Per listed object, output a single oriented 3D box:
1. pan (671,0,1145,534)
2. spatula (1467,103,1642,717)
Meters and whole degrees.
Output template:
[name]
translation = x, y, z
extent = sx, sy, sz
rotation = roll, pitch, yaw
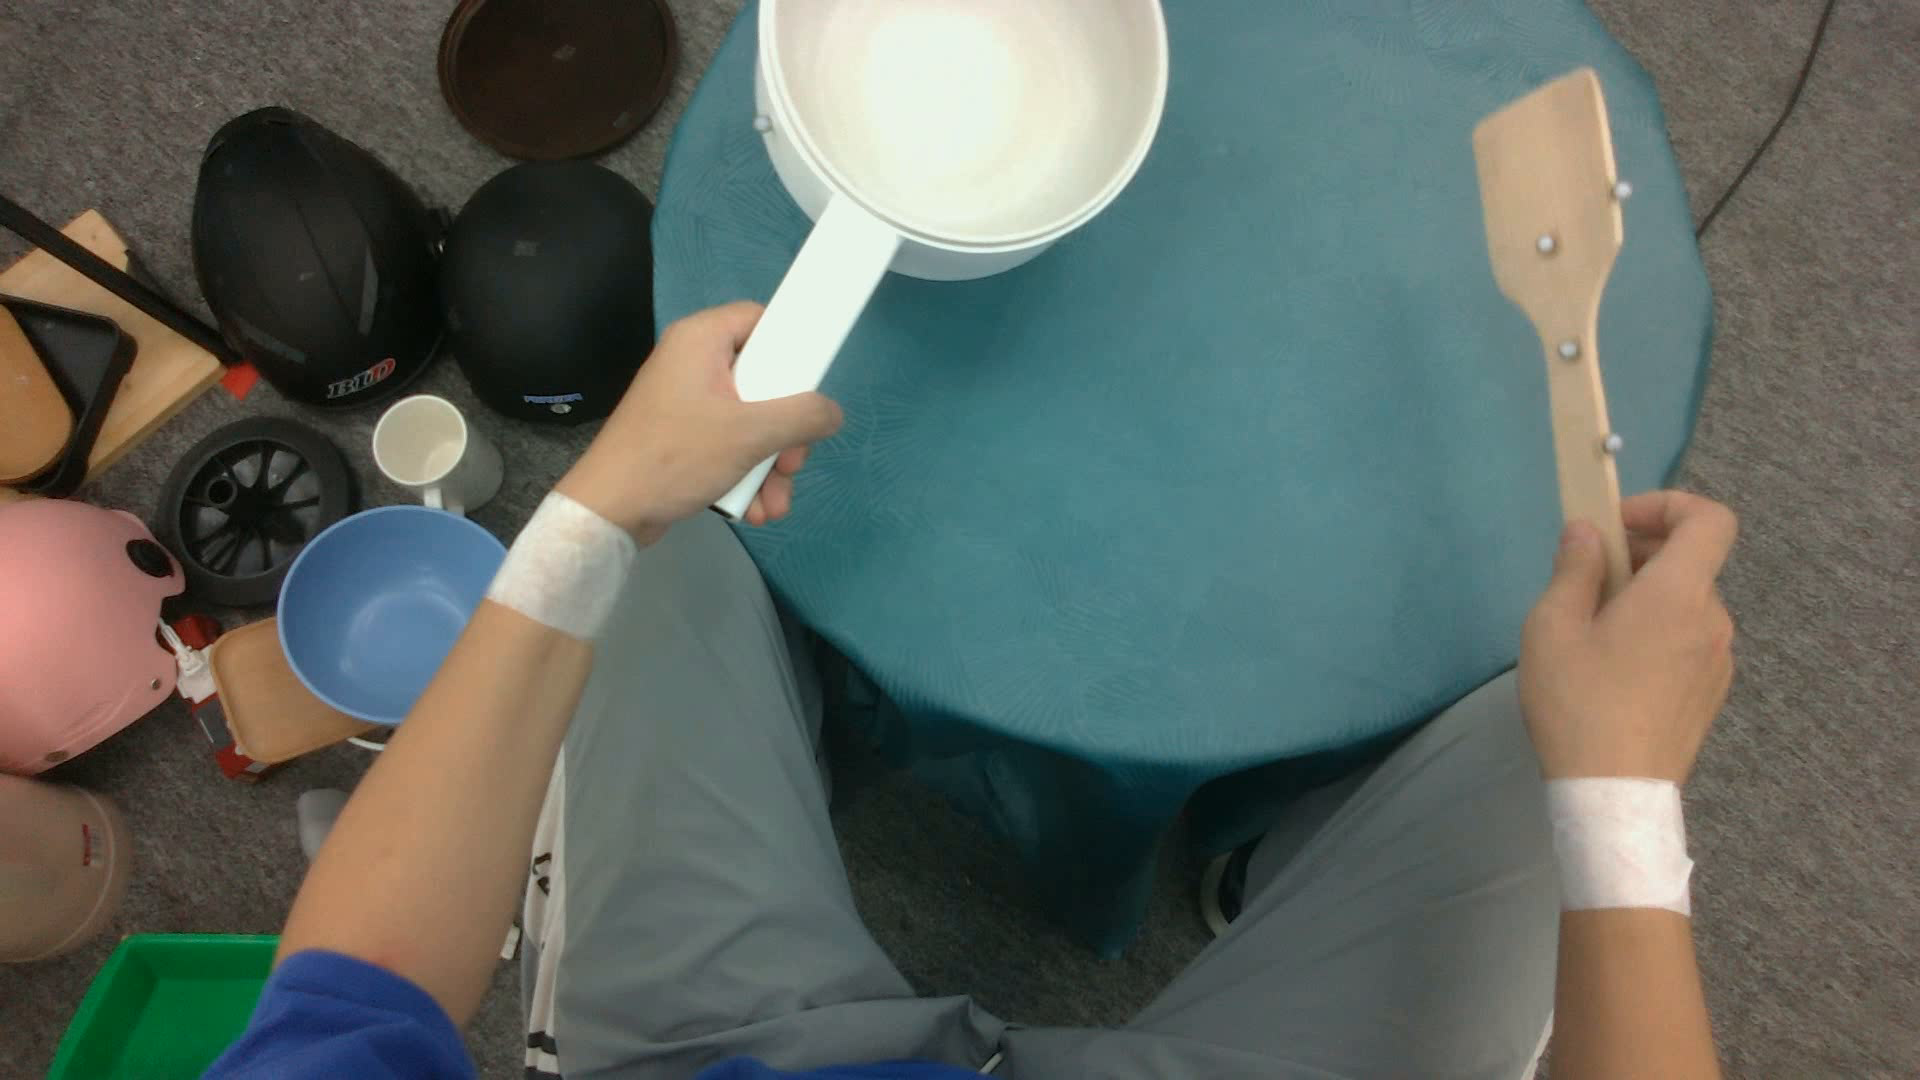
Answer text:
[pan]
translation = -0.047, -0.164, 0.711
extent = 0.201, 0.102, 0.355
rotation = 28, 80, -11
[spatula]
translation = 0.291, -0.062, 0.658
extent = 0.011, 0.072, 0.293
rotation = 1, 77, -23
